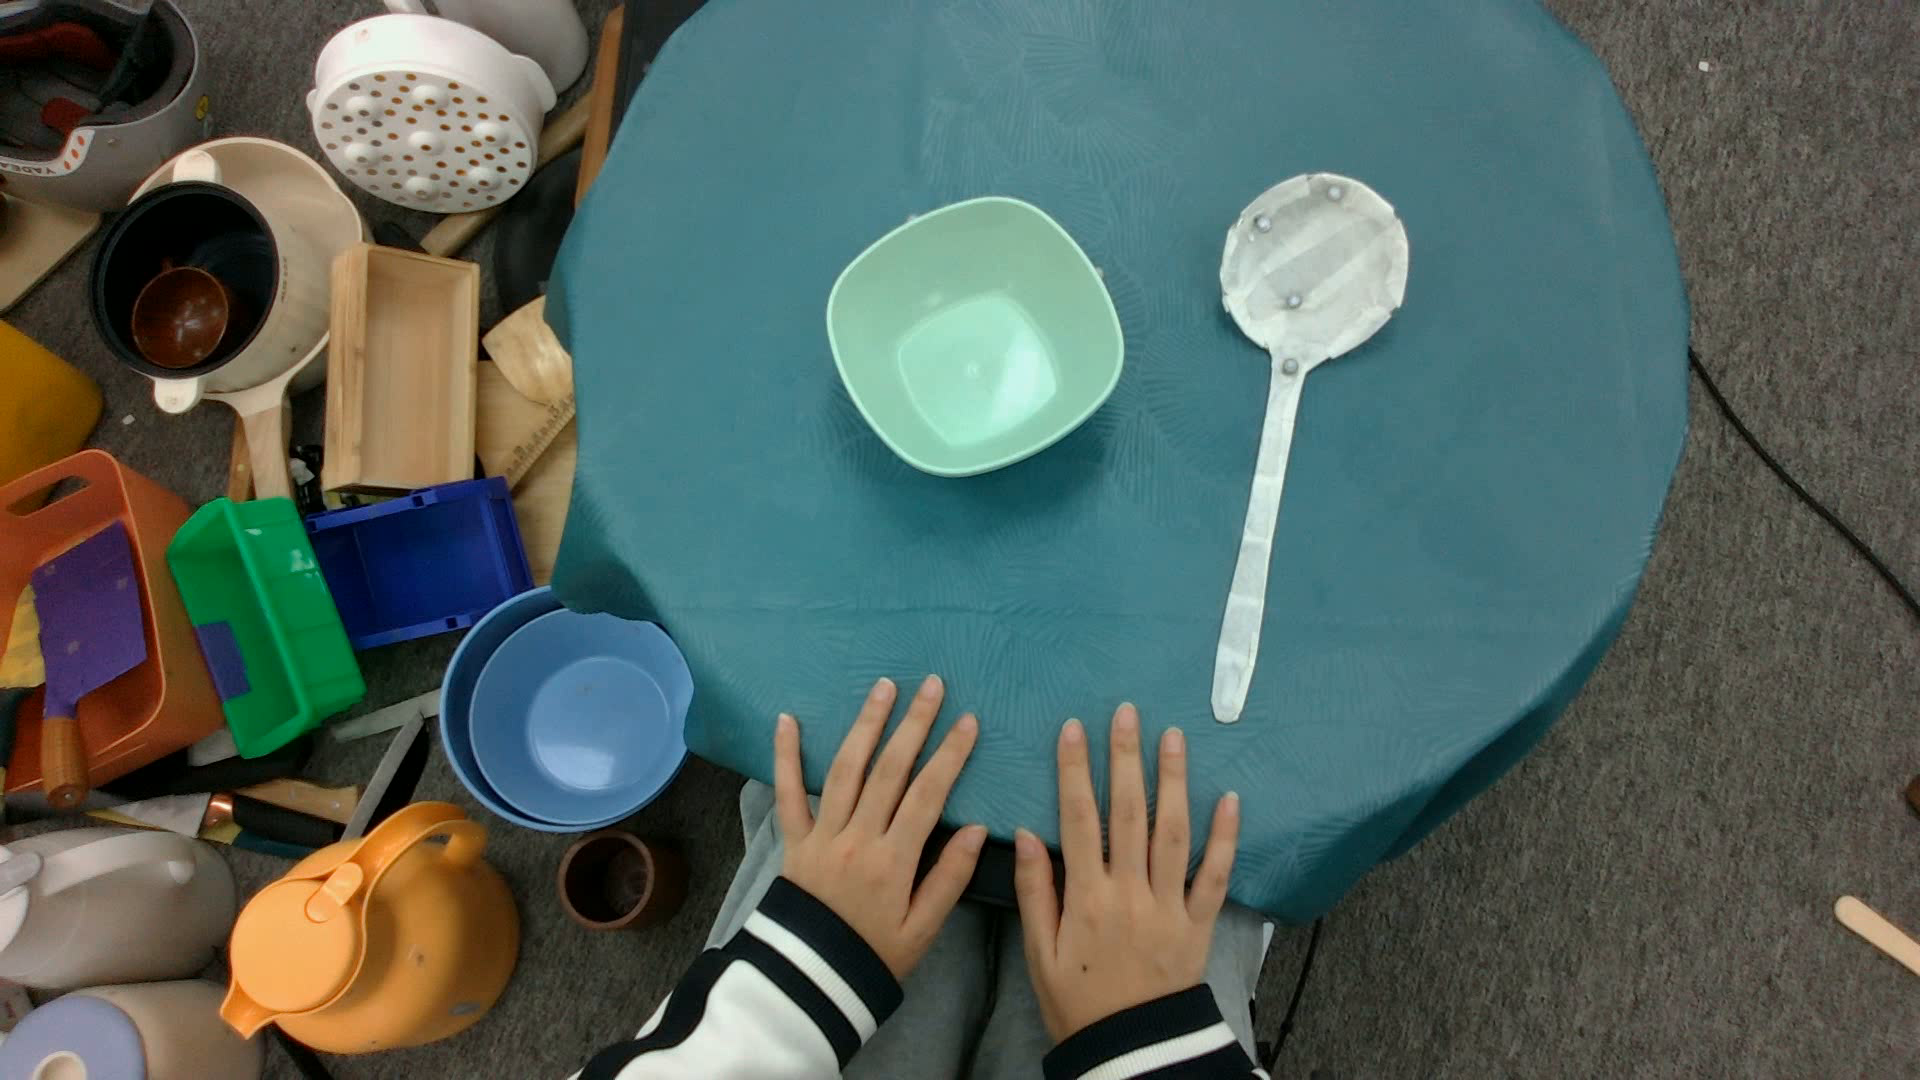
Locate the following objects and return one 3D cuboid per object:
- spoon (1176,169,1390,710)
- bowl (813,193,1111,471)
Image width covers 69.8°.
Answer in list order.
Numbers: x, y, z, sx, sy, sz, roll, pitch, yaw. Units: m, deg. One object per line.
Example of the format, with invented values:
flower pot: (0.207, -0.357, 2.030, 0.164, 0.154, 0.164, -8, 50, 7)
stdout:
spoon: (0.144, -0.053, 0.692, 0.100, 0.059, 0.278, 14, 75, 10)
bowl: (0.001, -0.099, 0.711, 0.151, 0.058, 0.152, 0, 75, 2)
